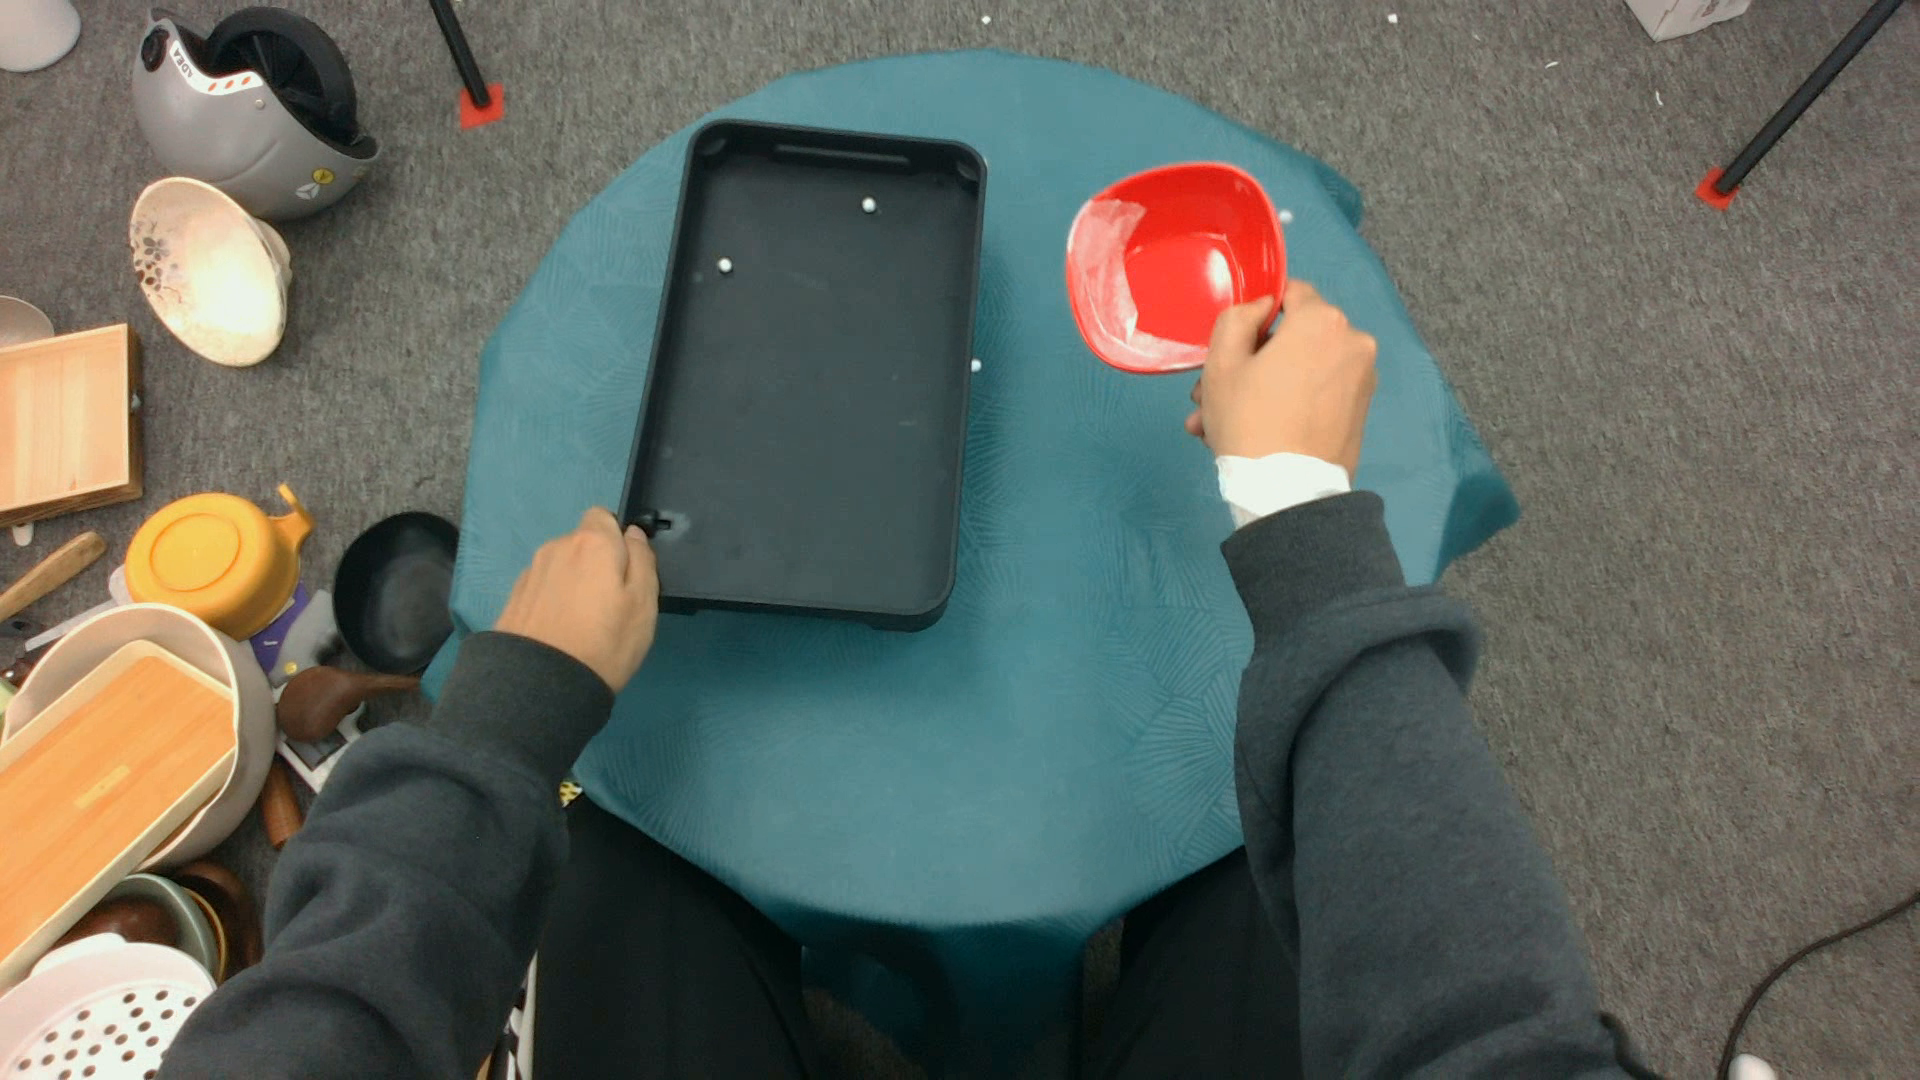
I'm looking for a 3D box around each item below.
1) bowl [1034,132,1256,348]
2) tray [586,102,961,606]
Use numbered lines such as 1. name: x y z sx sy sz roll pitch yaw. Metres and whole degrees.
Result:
1. bowl: 0.098 -0.149 0.716 0.119 0.051 0.119 -2 80 14
2. tray: -0.097 -0.115 0.790 0.184 0.037 0.319 3 64 -1
